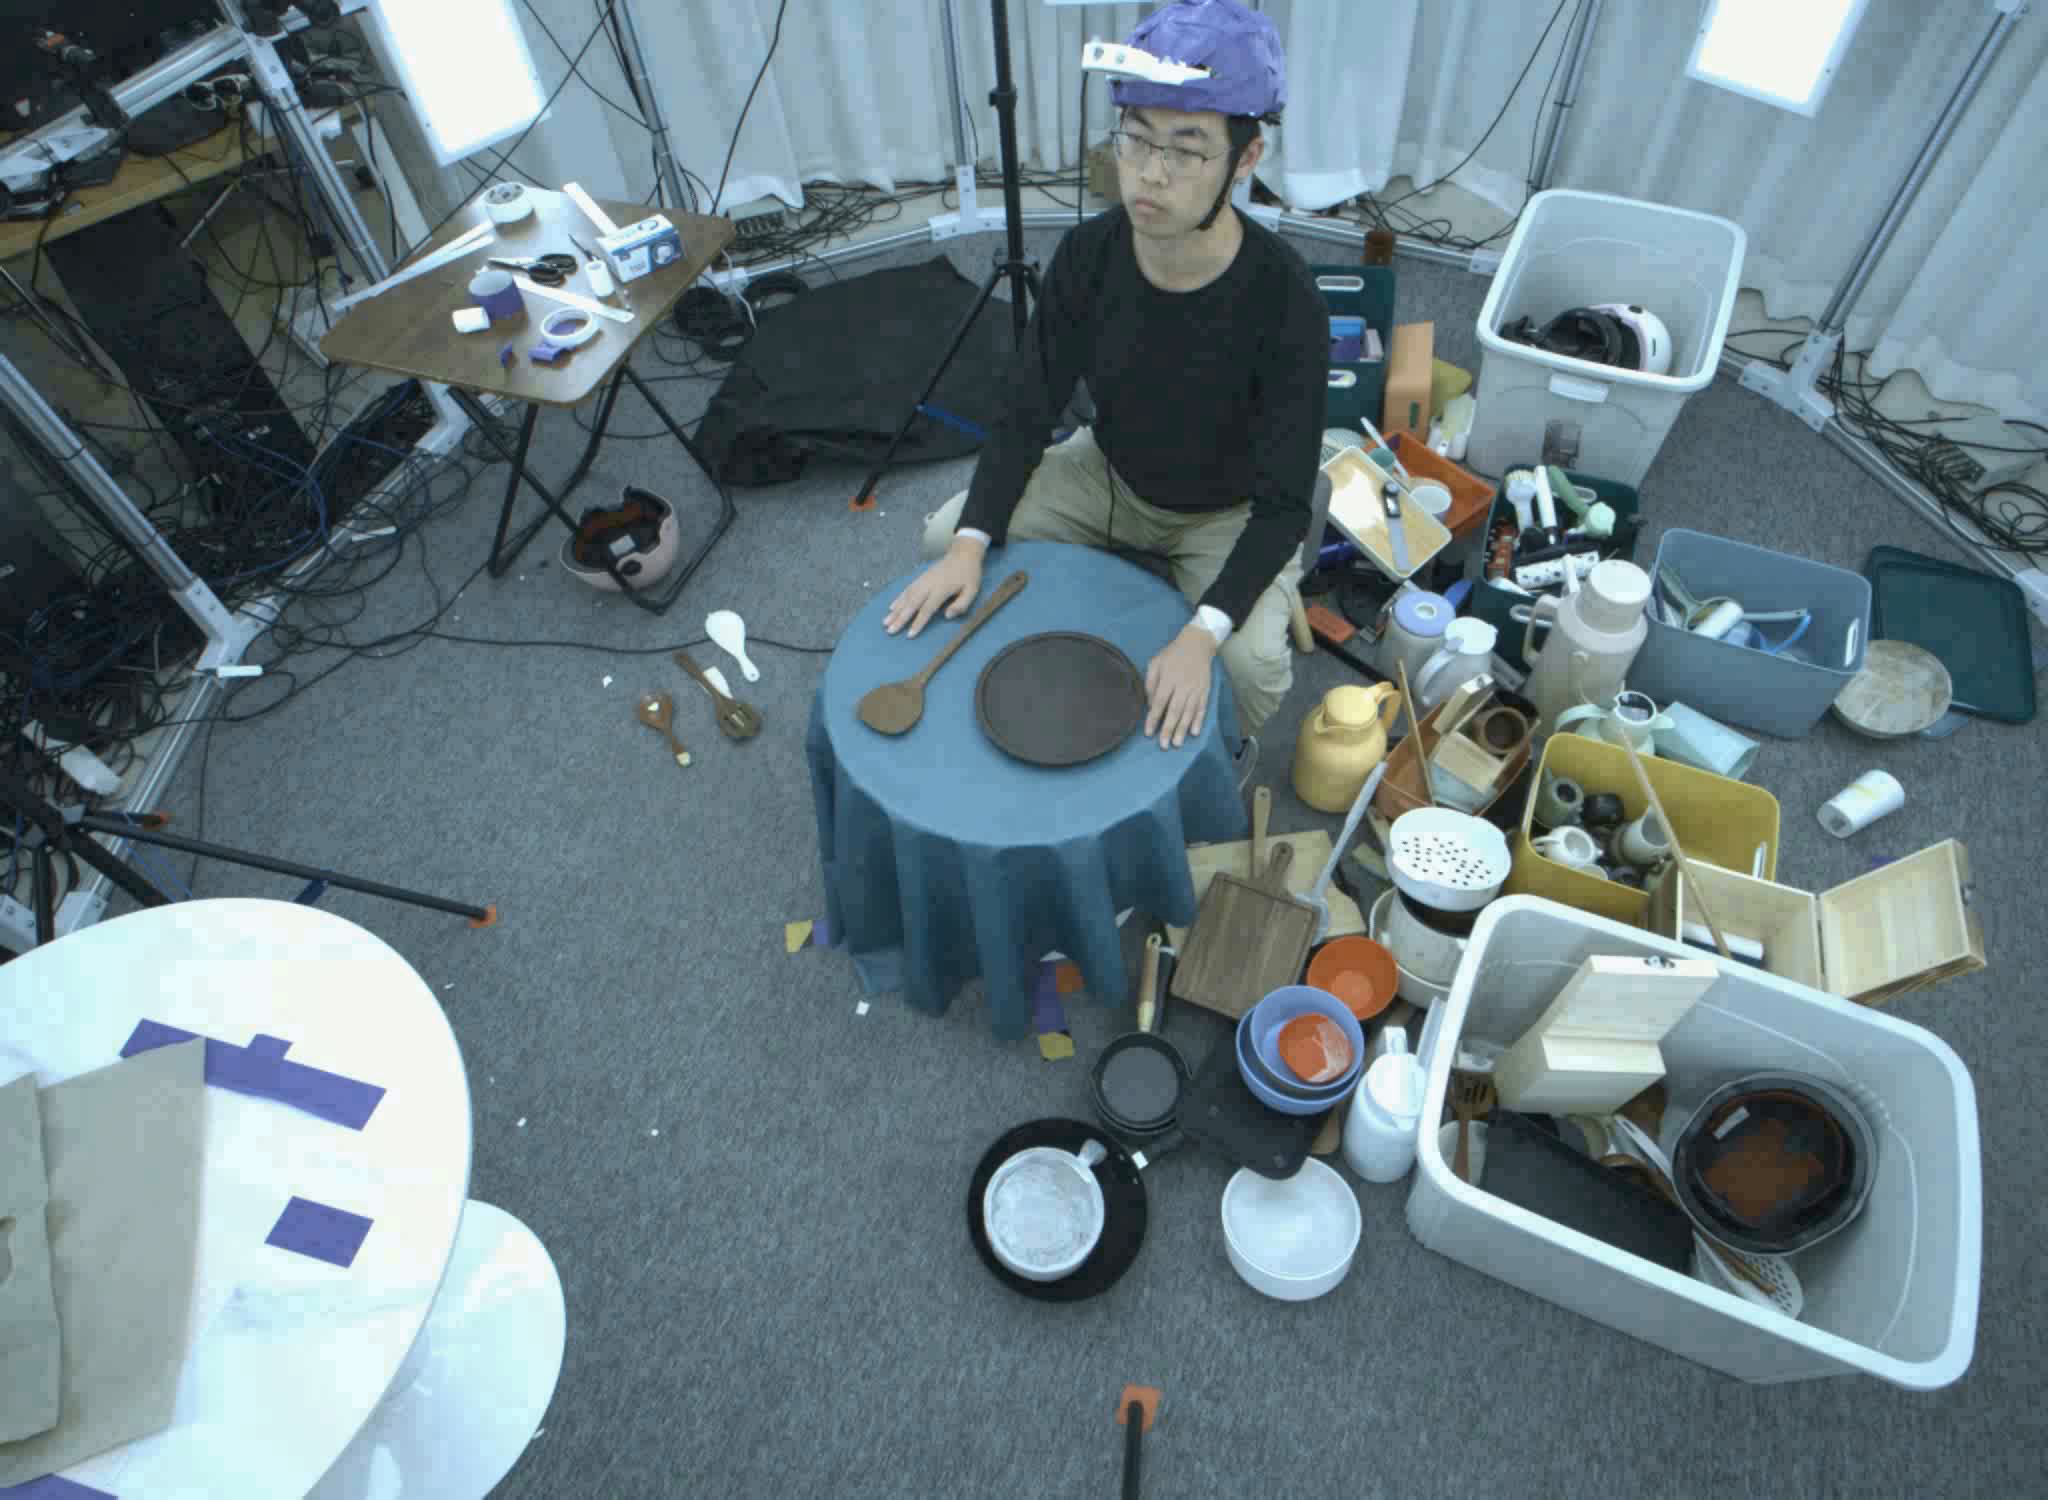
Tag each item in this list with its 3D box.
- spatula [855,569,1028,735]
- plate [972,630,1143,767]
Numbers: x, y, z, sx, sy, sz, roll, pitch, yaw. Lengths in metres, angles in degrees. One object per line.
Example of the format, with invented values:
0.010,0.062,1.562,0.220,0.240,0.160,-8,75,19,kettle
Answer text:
-0.112,-0.162,1.897,0.094,0.016,0.388,30,61,20,spatula
0.051,-0.078,1.826,0.254,0.029,0.252,-1,54,3,plate
